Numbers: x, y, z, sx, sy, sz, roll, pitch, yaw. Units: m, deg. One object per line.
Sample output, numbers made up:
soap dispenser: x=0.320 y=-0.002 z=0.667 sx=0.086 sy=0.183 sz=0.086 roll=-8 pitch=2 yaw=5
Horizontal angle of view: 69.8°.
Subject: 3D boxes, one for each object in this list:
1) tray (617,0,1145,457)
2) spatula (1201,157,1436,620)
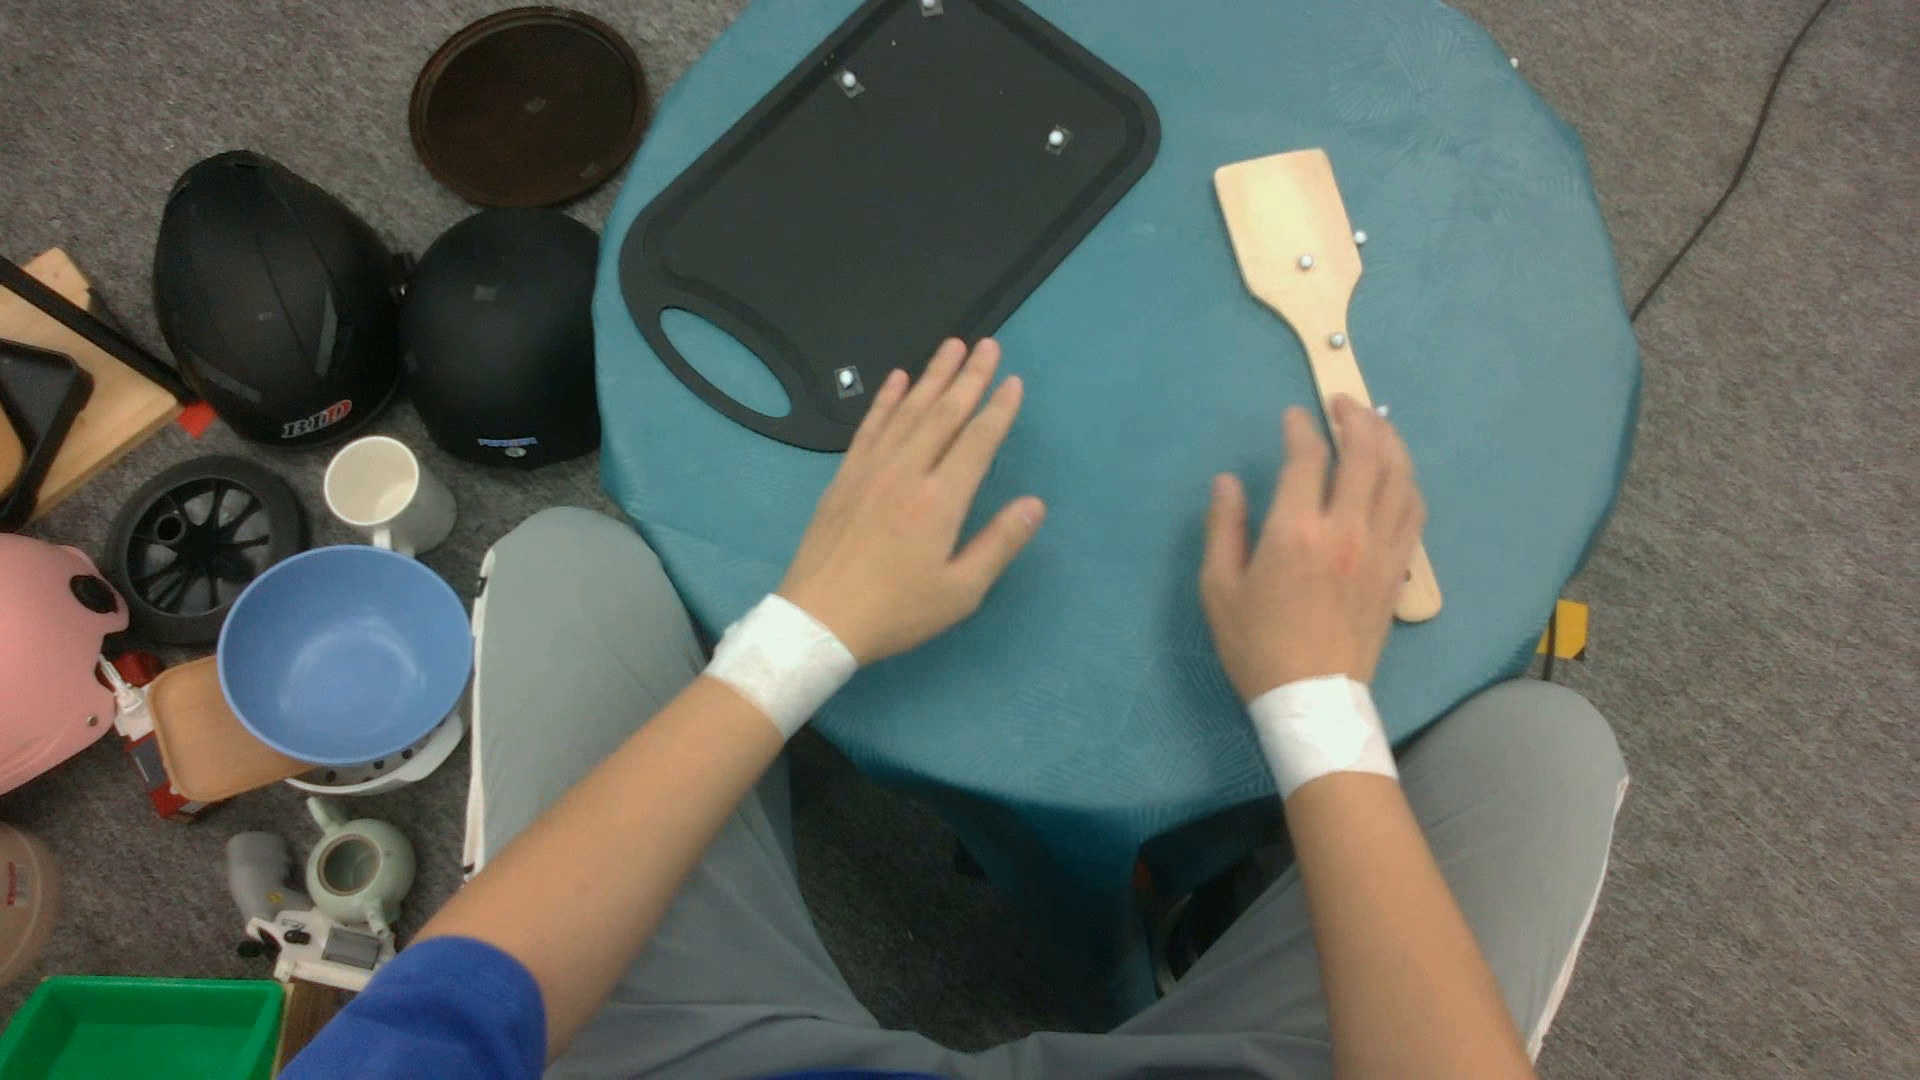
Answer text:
tray: x=-0.050 y=-0.199 z=0.832 sx=0.211 sy=0.010 sz=0.326 roll=39 pitch=76 yaw=12
spatula: x=0.214 y=-0.092 z=0.793 sx=0.072 sy=0.010 sz=0.293 roll=-13 pitch=72 yaw=-5
